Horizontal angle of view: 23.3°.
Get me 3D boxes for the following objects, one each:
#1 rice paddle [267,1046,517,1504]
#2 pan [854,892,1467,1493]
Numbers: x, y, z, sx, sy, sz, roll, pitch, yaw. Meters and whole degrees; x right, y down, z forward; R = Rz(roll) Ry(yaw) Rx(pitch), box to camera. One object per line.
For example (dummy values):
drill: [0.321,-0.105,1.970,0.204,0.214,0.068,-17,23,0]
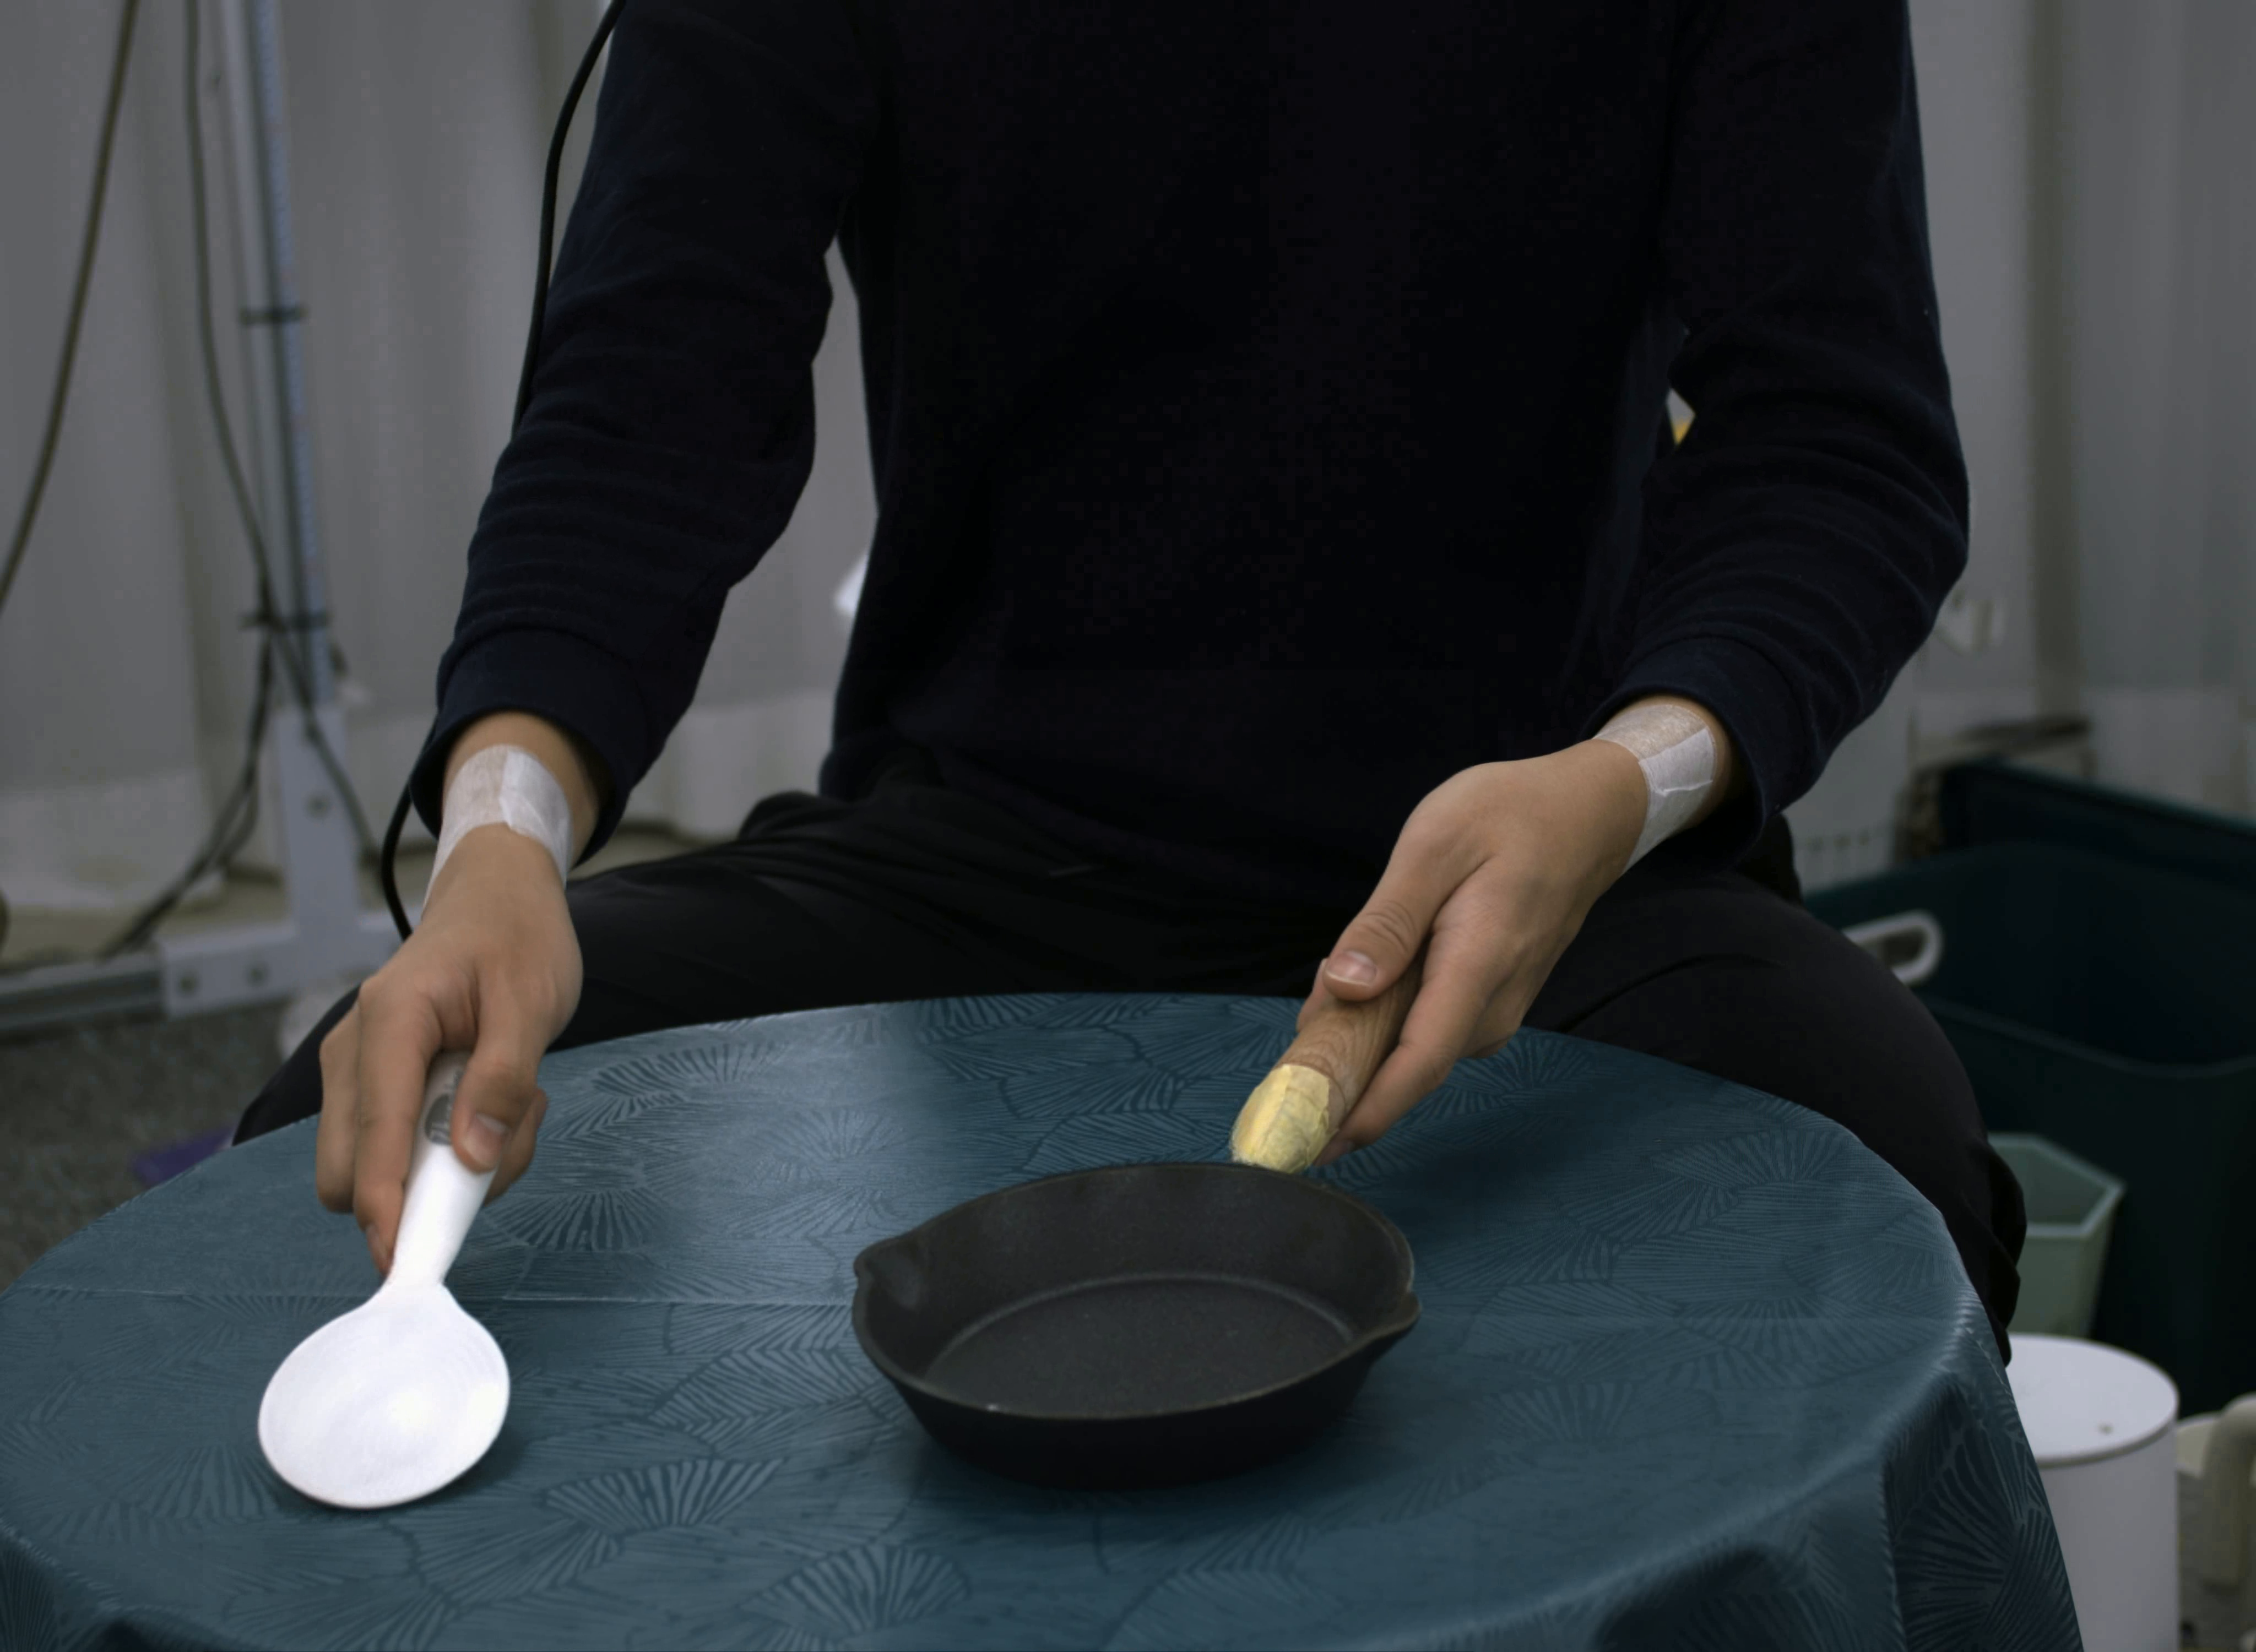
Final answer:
rice paddle: [-0.203,0.130,1.574,0.068,0.029,0.208,-1,30,2]
pan: [0.038,0.103,1.594,0.169,0.049,0.326,5,25,25]
